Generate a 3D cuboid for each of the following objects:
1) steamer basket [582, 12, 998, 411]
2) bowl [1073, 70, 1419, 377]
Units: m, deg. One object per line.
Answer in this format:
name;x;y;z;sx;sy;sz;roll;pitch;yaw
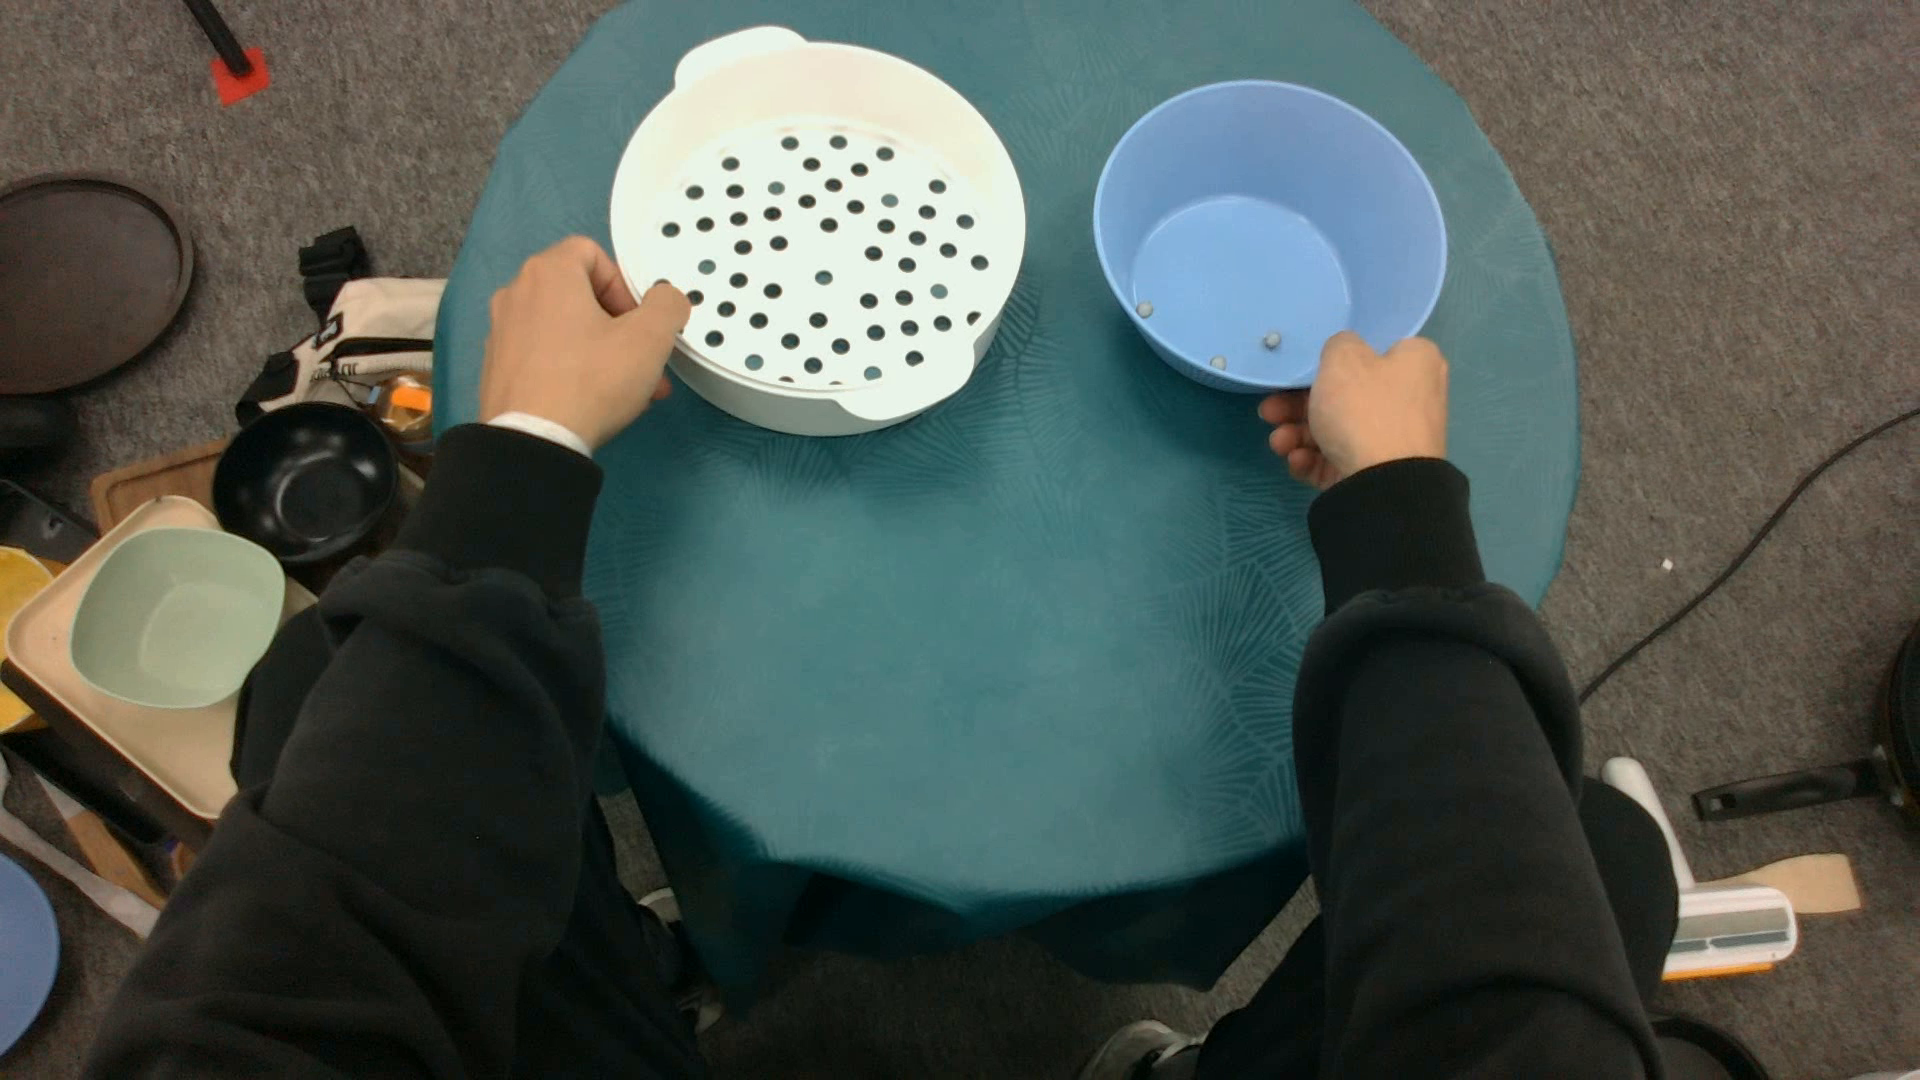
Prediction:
steamer basket;-0.084;-0.161;0.697;0.202;0.069;0.231;-23;70;-16
bowl;0.142;-0.152;0.718;0.176;0.070;0.176;1;69;-3
